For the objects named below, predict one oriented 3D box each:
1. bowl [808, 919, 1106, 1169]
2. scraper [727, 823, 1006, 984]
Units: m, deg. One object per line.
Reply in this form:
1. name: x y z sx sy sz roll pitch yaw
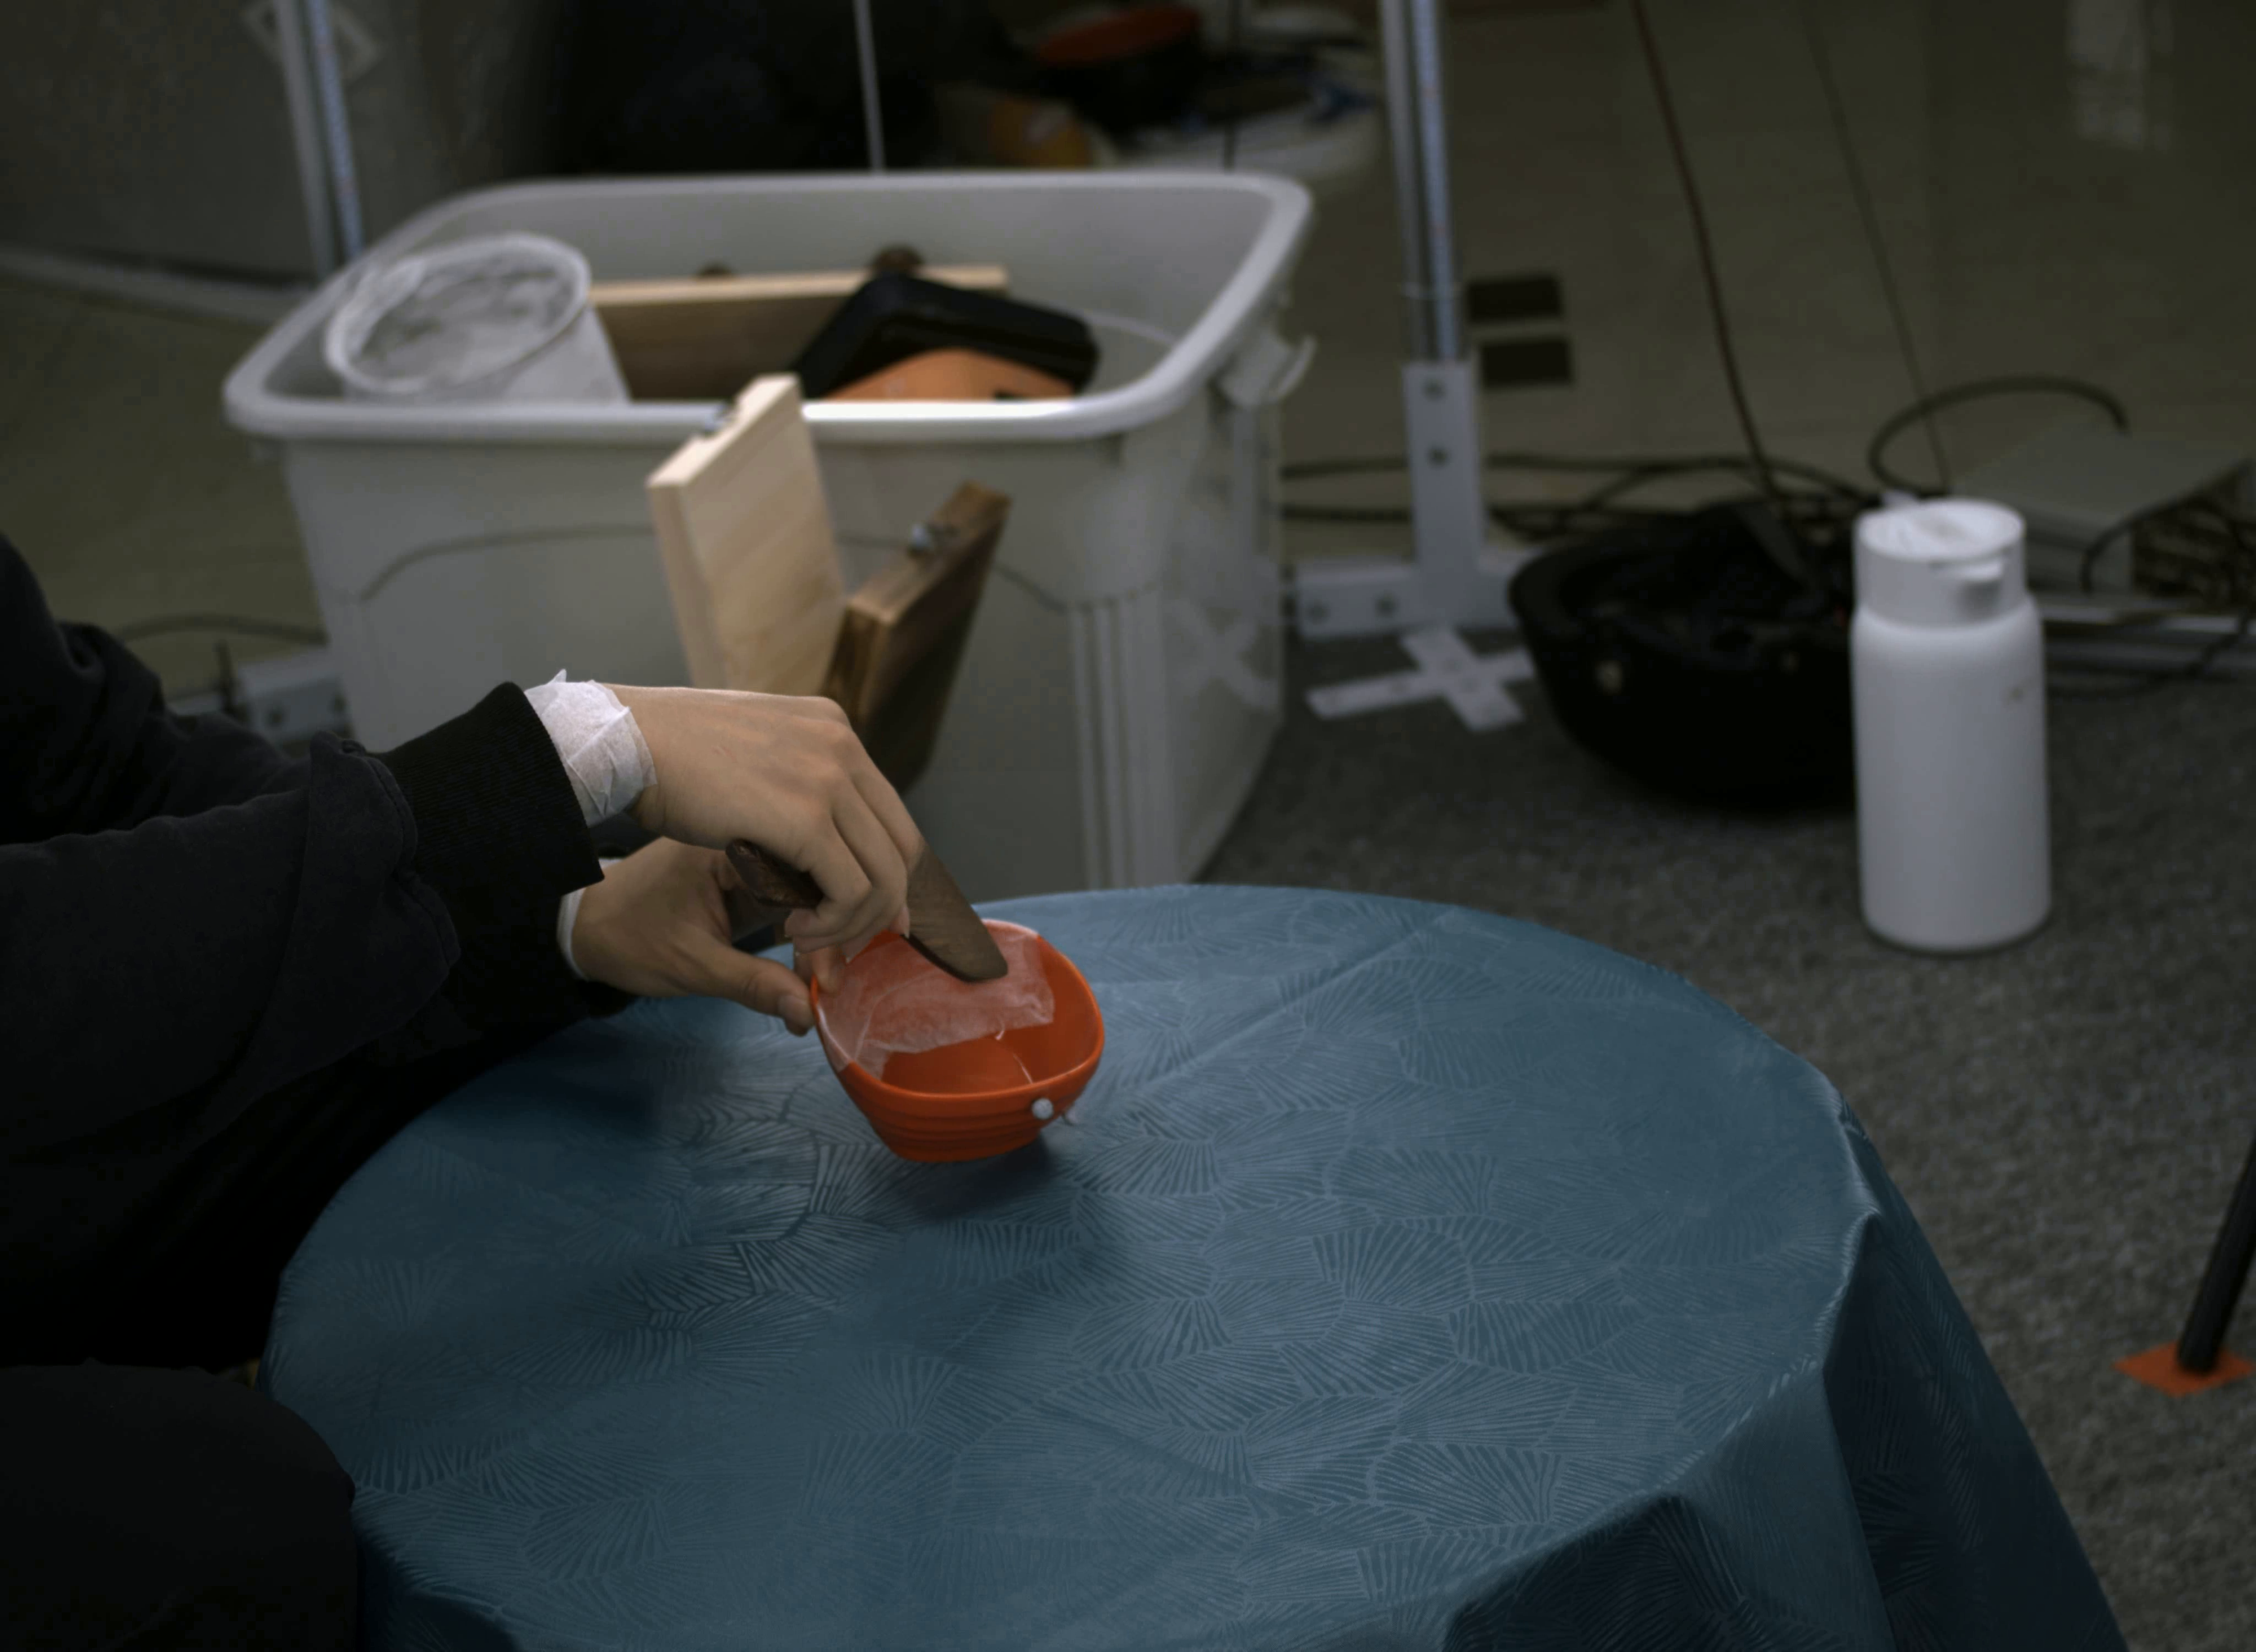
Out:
1. bowl: -0.068 0.091 2.197 0.119 0.052 0.117 4 39 -4
2. scraper: -0.102 0.024 2.119 0.011 0.075 0.212 -36 -15 14
